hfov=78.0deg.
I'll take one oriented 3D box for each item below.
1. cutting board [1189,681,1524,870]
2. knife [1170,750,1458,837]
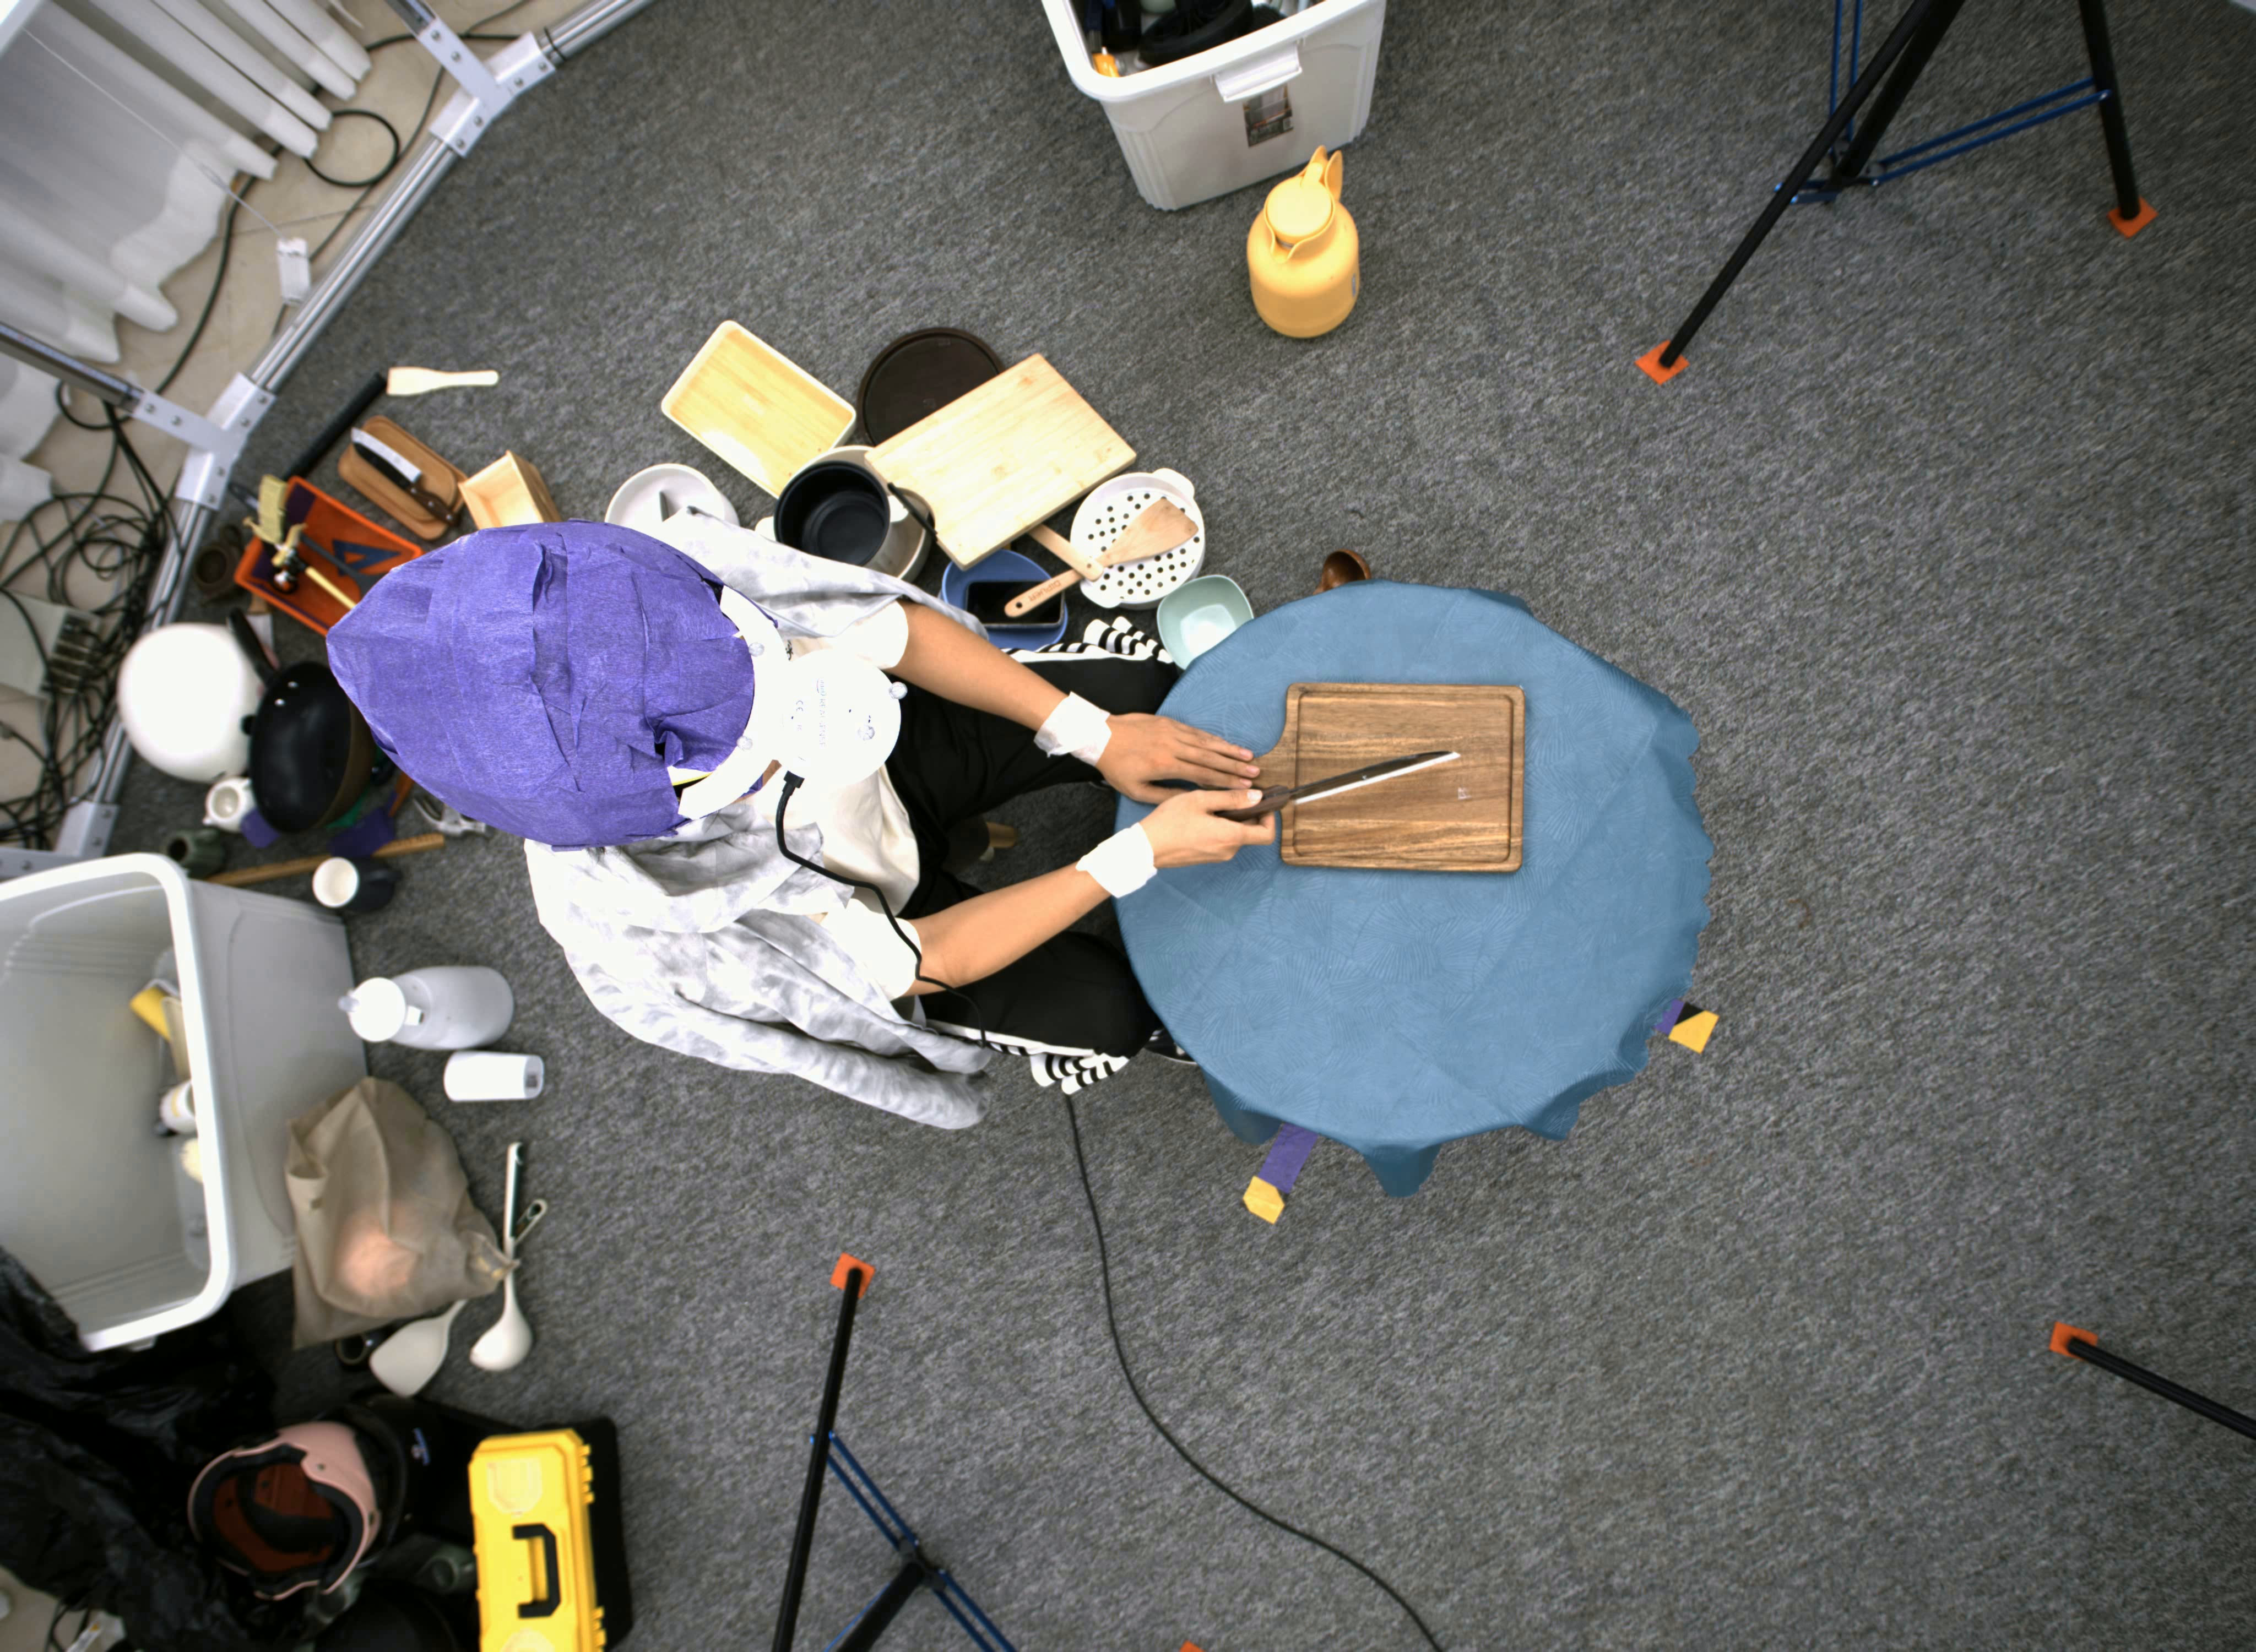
[{"bbox_3d":[0.240,-0.056,1.463,0.353,0.023,0.200,1,89,11],"label":"cutting board"},{"bbox_3d":[0.190,-0.037,1.405,0.301,0.068,0.024,-17,76,10],"label":"knife"}]
